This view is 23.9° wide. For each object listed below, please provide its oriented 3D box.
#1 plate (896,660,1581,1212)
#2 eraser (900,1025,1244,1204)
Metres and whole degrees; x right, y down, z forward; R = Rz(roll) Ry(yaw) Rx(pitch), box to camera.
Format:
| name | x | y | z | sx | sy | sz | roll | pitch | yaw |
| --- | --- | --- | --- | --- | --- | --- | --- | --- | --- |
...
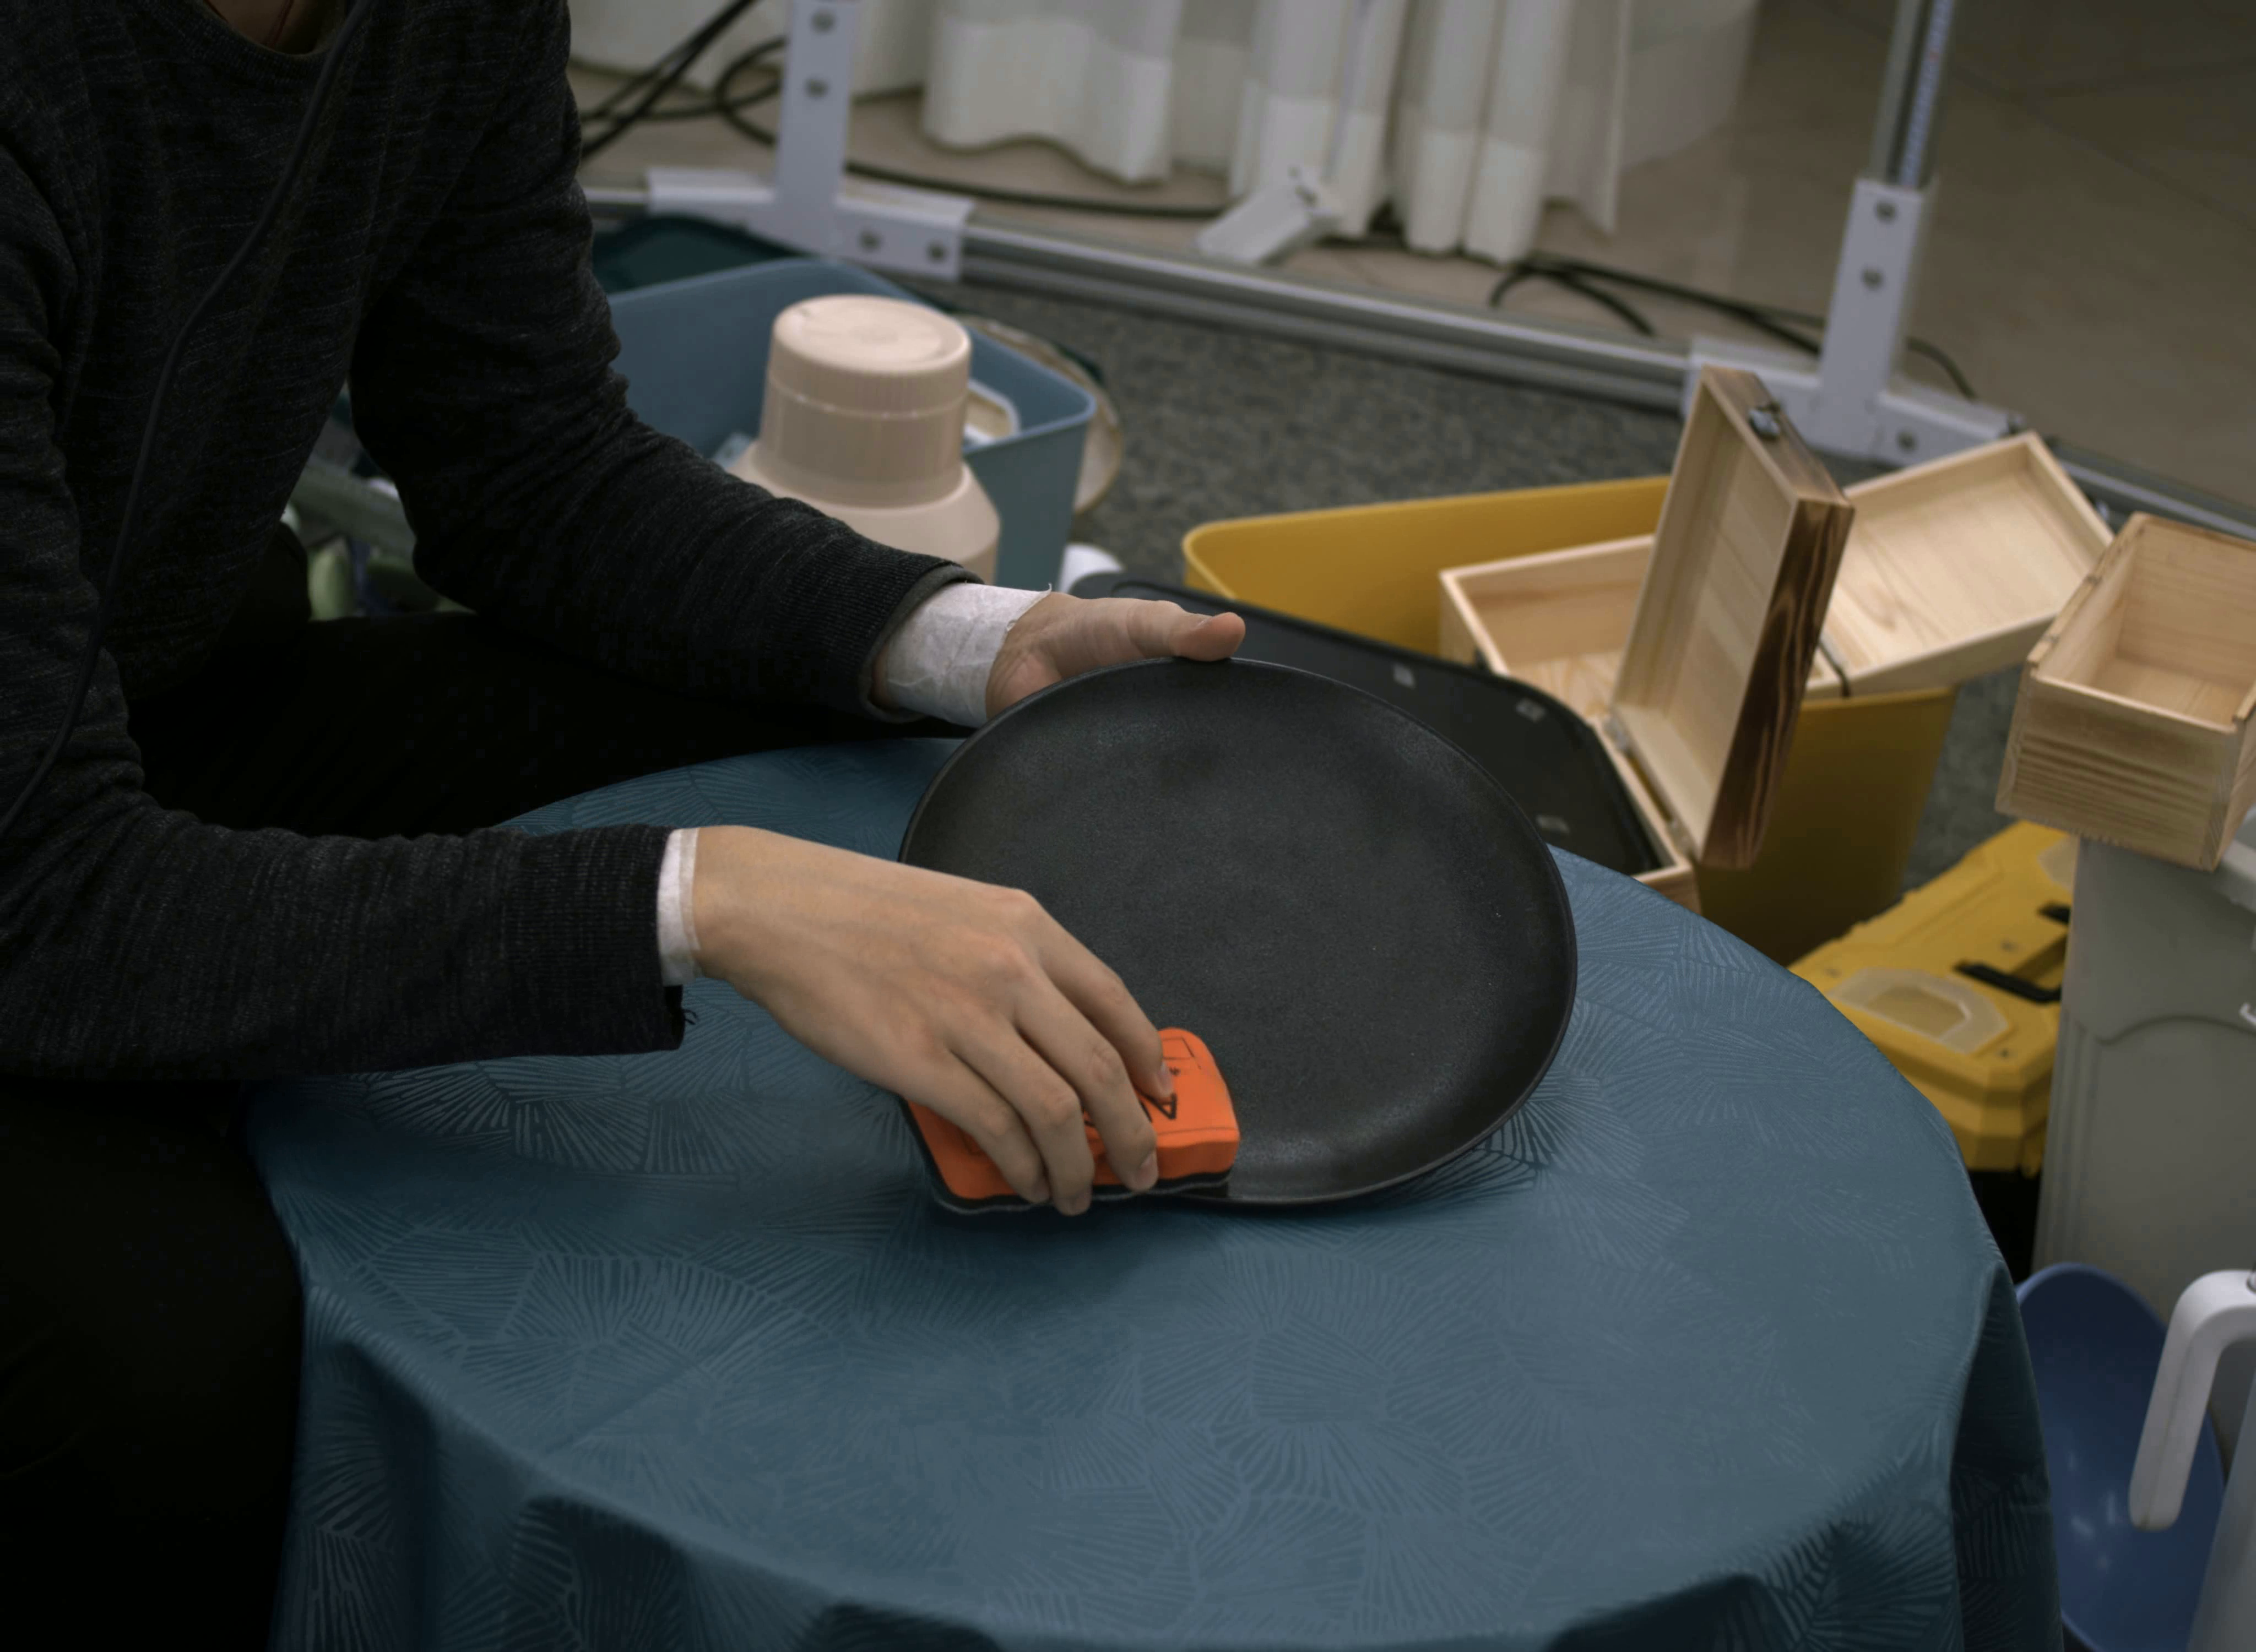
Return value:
| name | x | y | z | sx | sy | sz | roll | pitch | yaw |
| --- | --- | --- | --- | --- | --- | --- | --- | --- | --- |
| plate | 0.038 | 0.039 | 1.875 | 0.243 | 0.023 | 0.246 | 4 | 50 | -5 |
| eraser | -0.019 | 0.097 | 1.792 | 0.107 | 0.023 | 0.059 | -4 | 41 | -22 |
